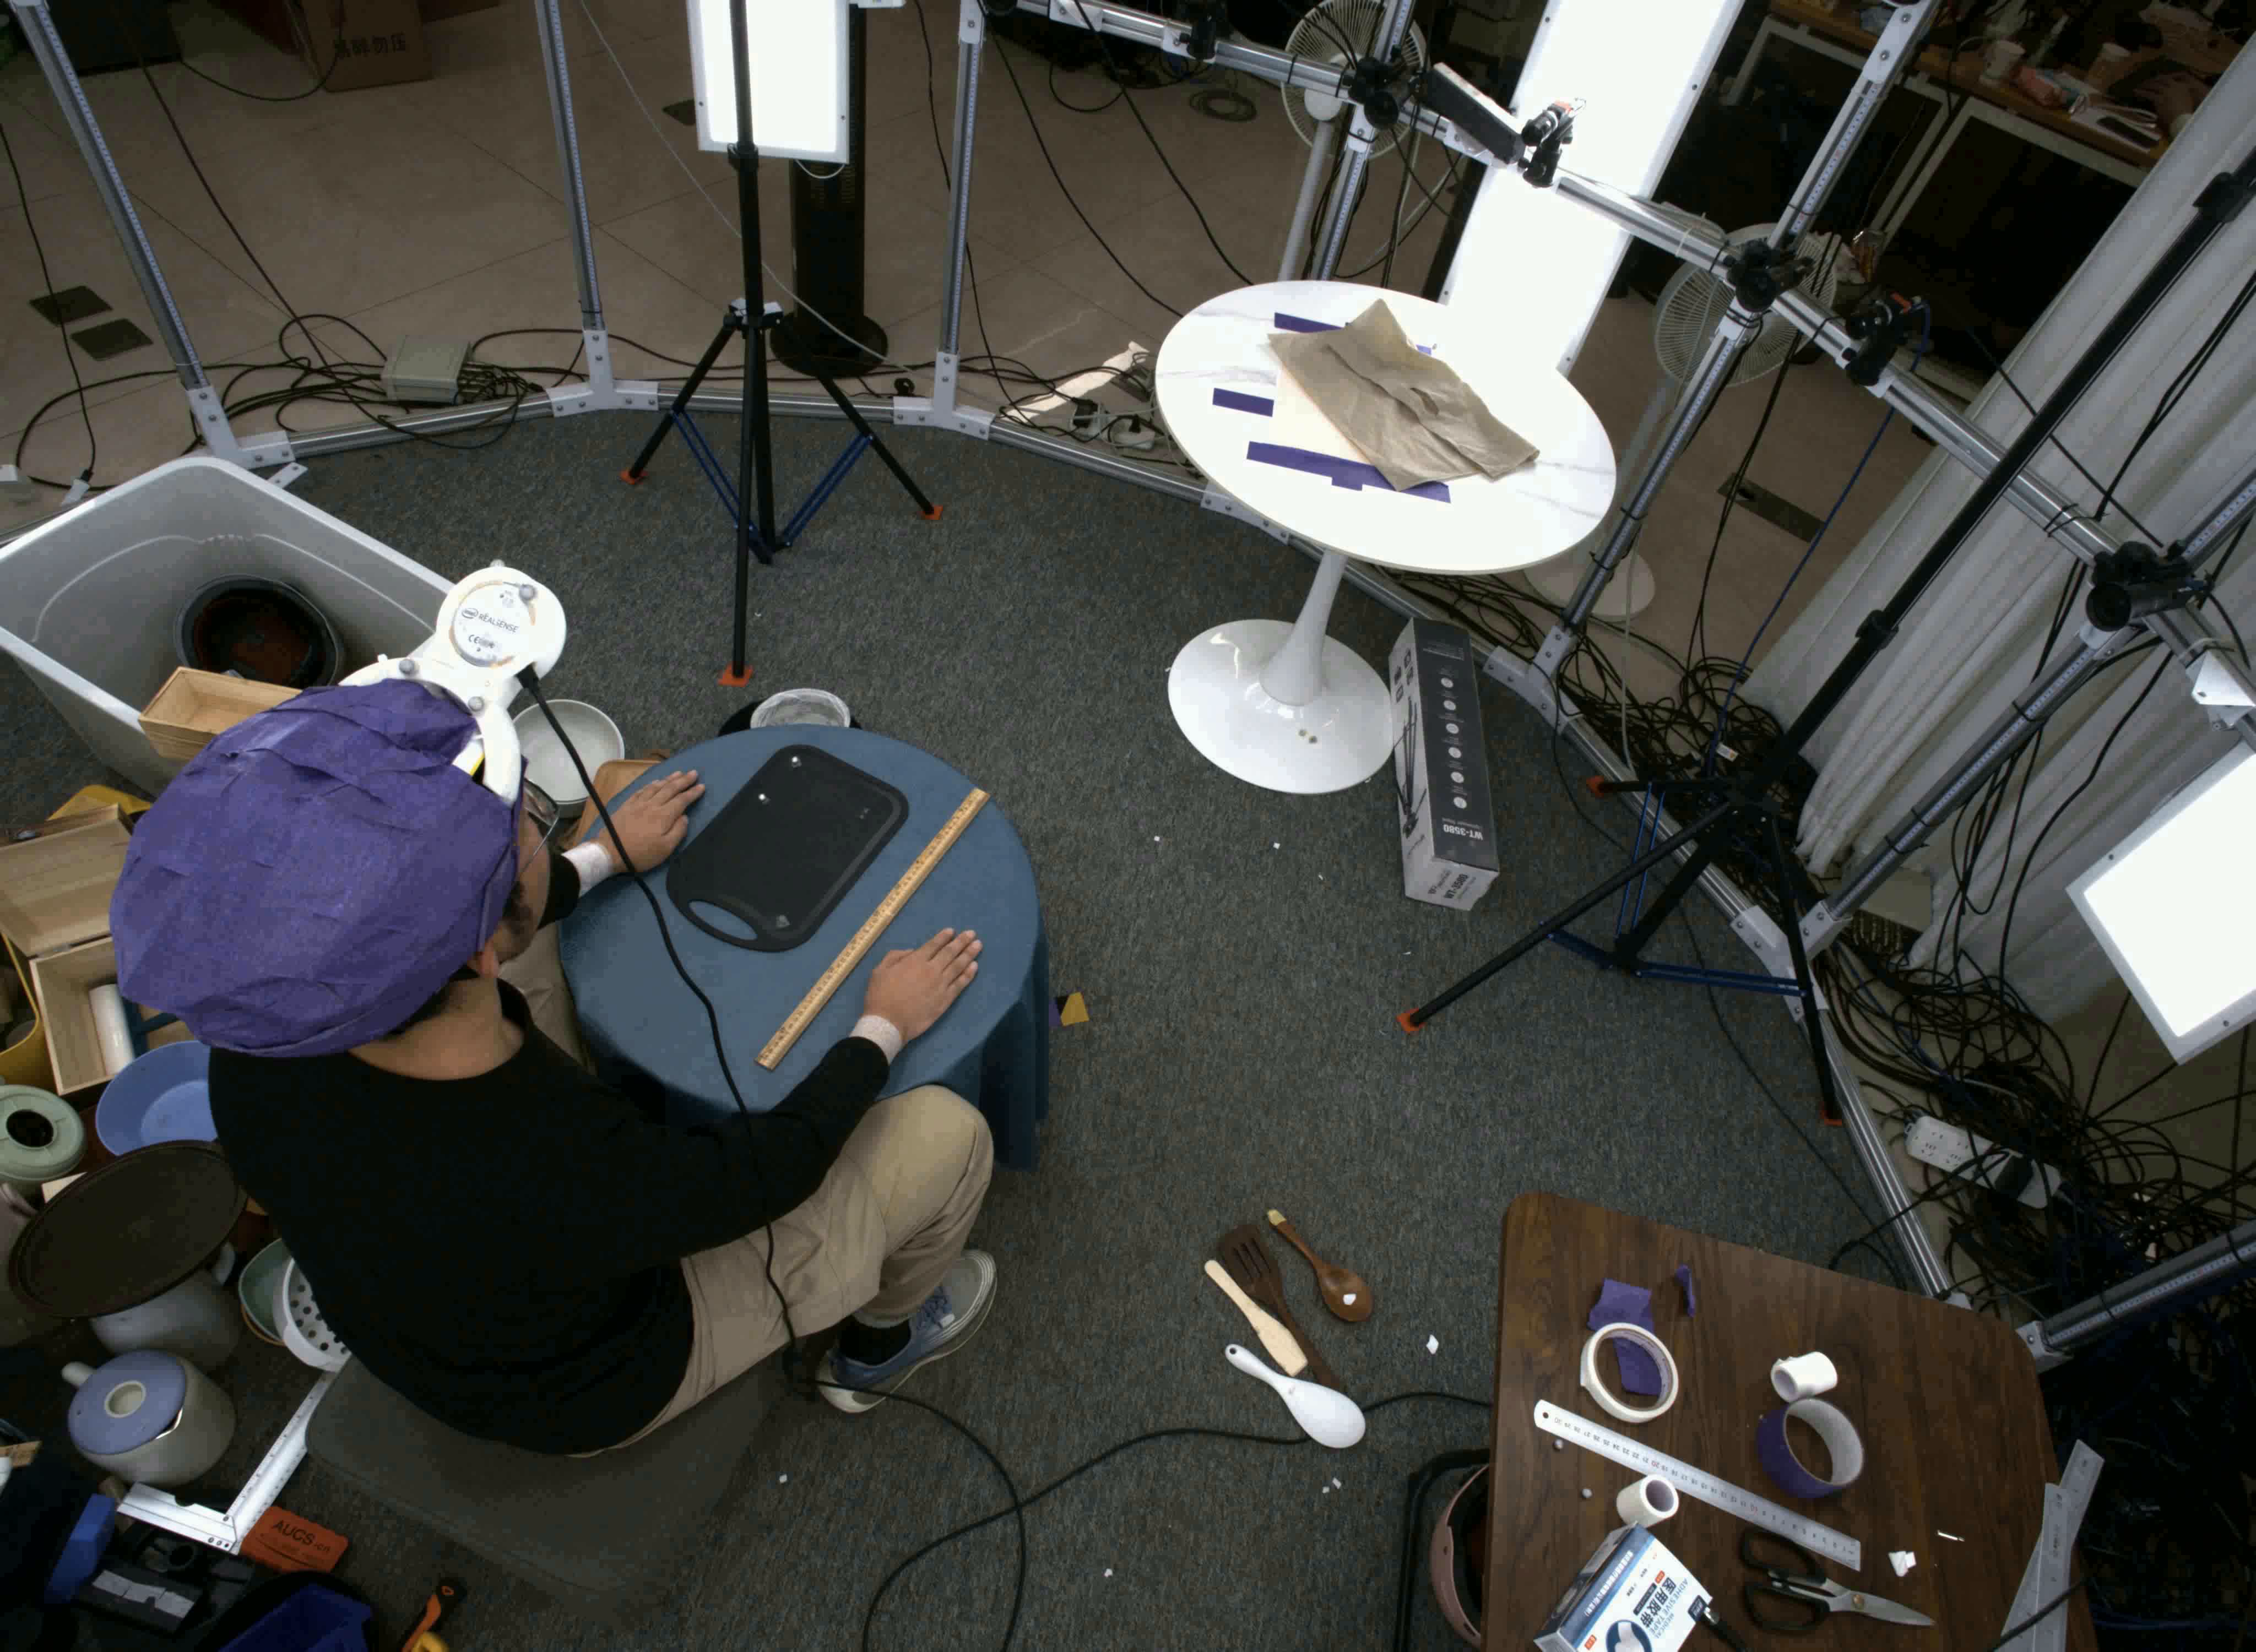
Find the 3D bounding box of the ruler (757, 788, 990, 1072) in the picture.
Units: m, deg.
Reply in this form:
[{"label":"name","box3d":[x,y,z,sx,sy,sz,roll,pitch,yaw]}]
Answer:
[{"label":"ruler","box3d":[-0.313,0.115,1.659,0.026,0.006,0.498,27,52,10]}]

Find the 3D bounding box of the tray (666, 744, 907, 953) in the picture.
[{"label":"tray","box3d":[-0.445,0.025,1.690,0.208,0.010,0.324,28,52,7]}]
